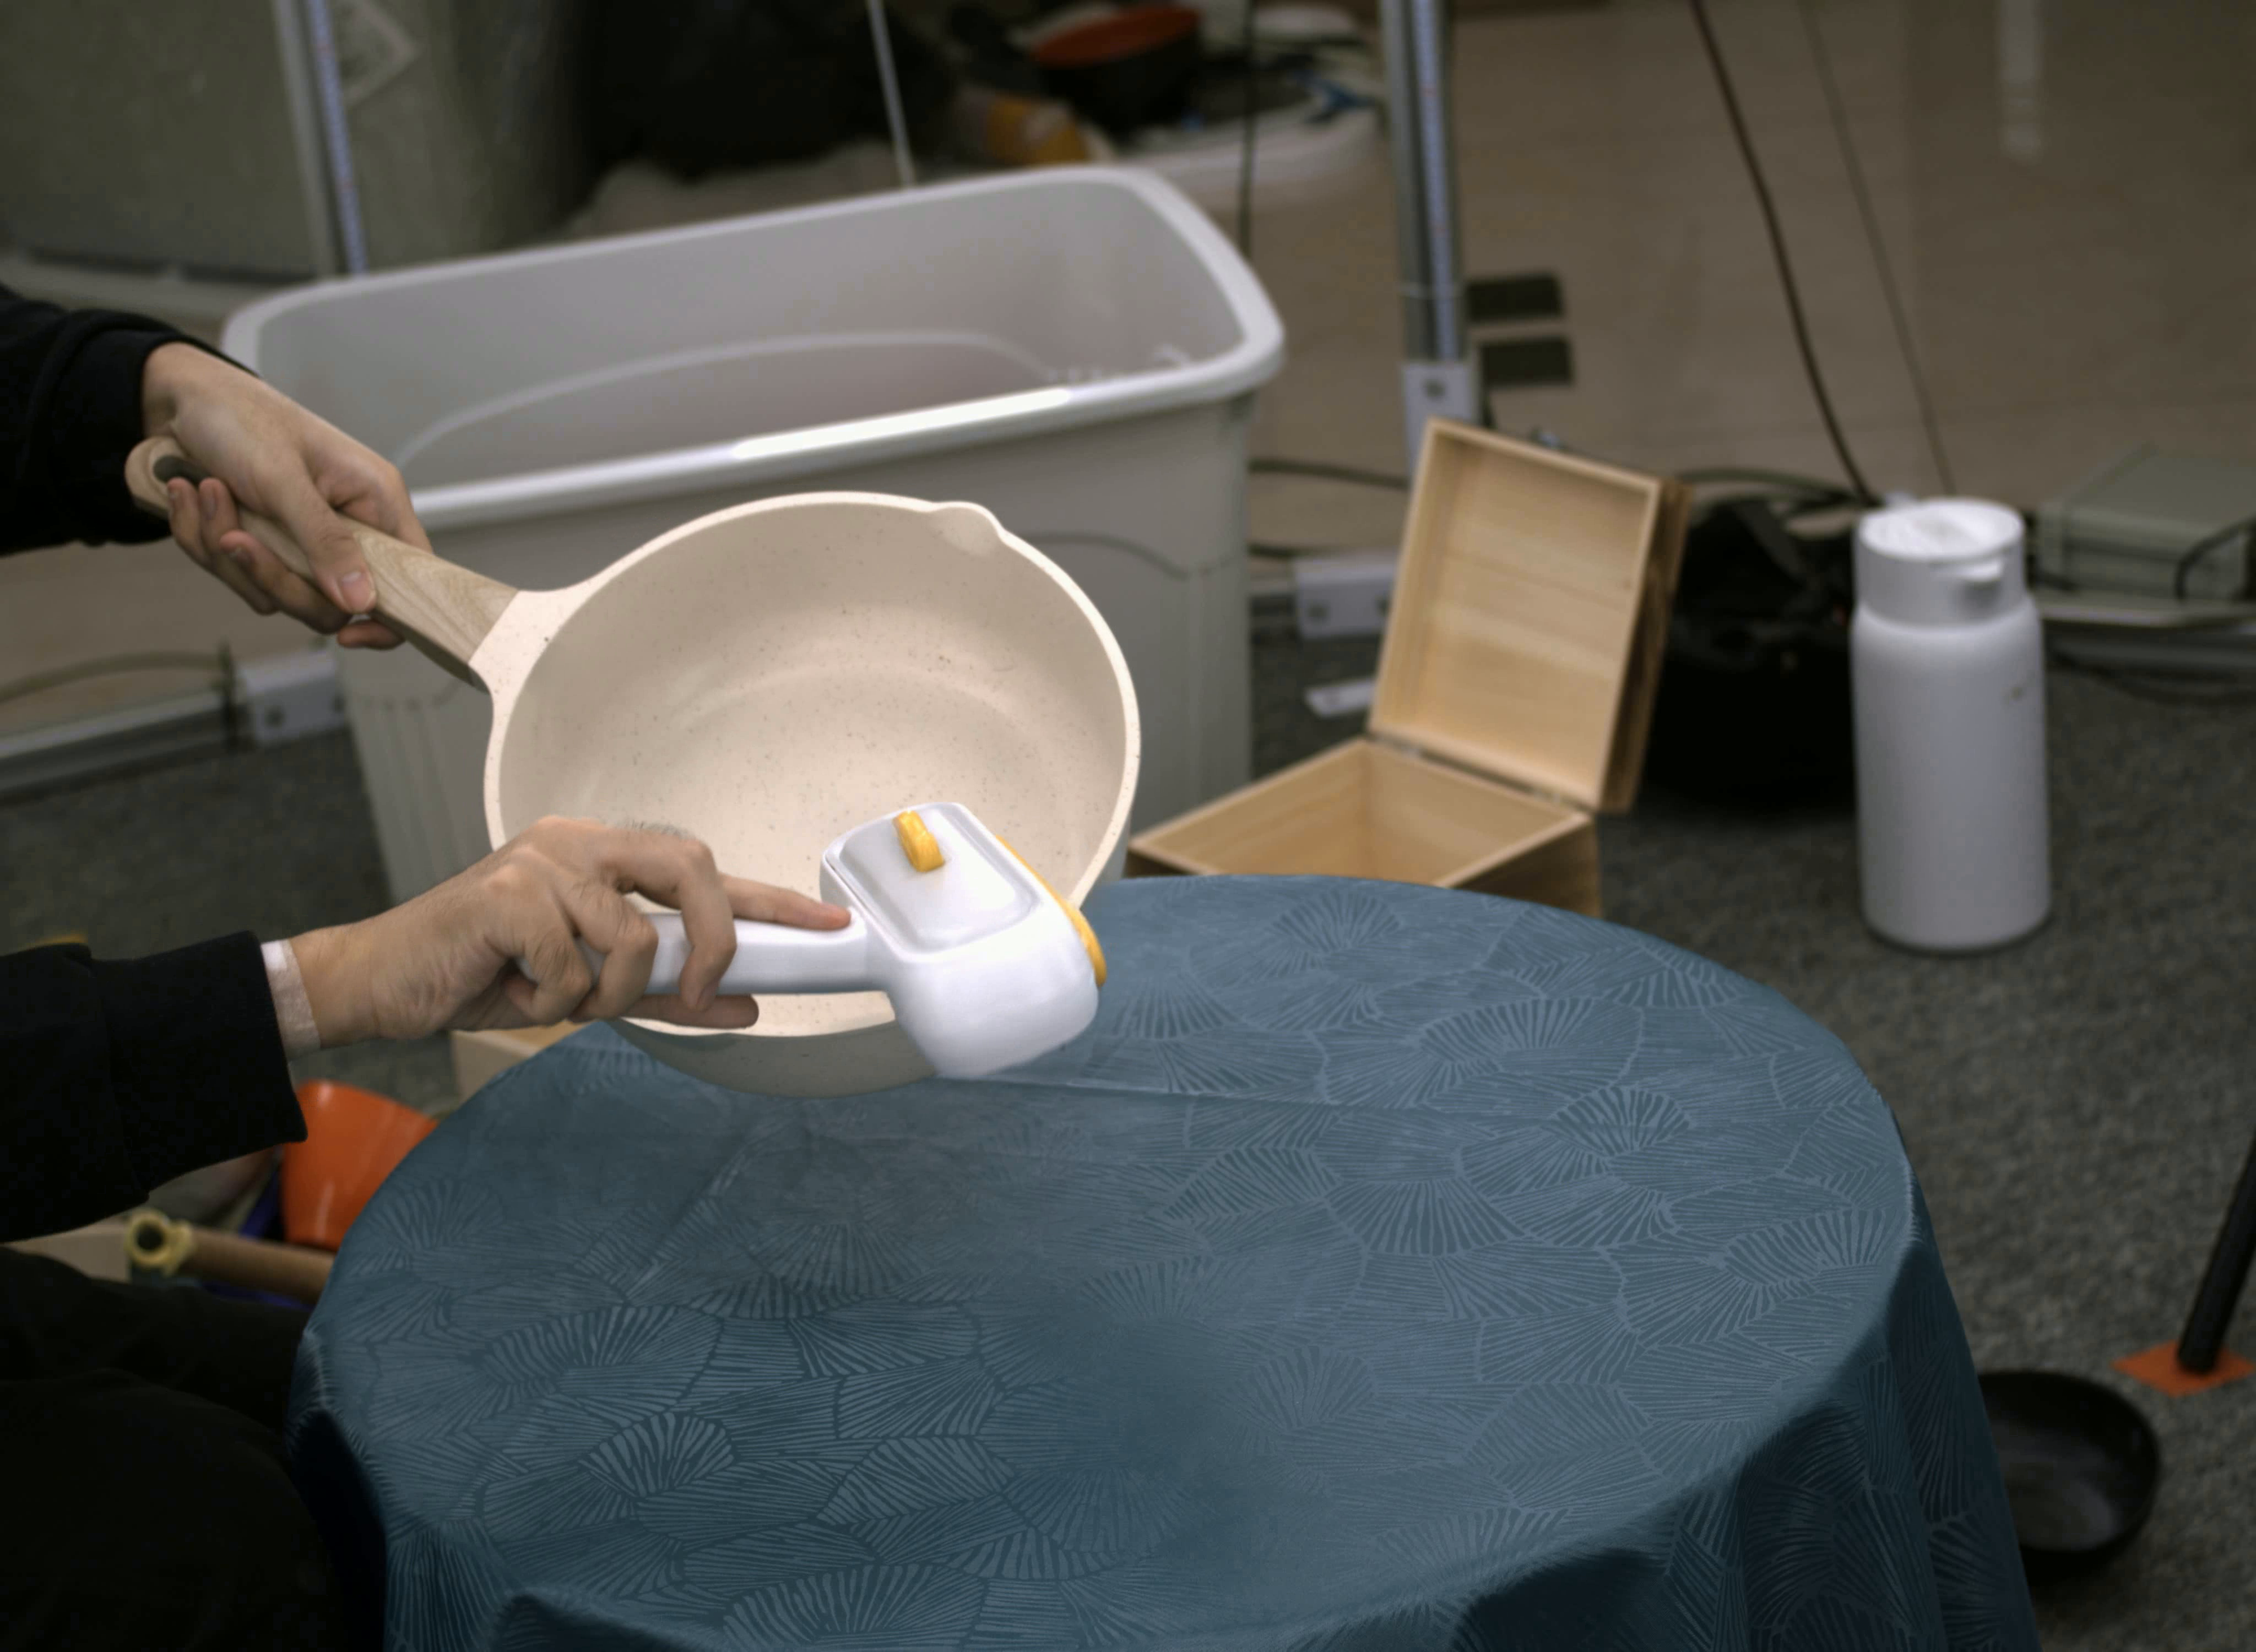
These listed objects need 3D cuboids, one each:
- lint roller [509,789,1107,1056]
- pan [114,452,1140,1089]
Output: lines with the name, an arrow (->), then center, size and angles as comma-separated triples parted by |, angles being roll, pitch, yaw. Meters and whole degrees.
lint roller -> -0.119, 0.041, 1.969 | 0.192, 0.075, 0.191 | -14, 20, -15
pan -> -0.198, -0.045, 2.198 | 0.432, 0.104, 0.260 | 21, 64, 18
